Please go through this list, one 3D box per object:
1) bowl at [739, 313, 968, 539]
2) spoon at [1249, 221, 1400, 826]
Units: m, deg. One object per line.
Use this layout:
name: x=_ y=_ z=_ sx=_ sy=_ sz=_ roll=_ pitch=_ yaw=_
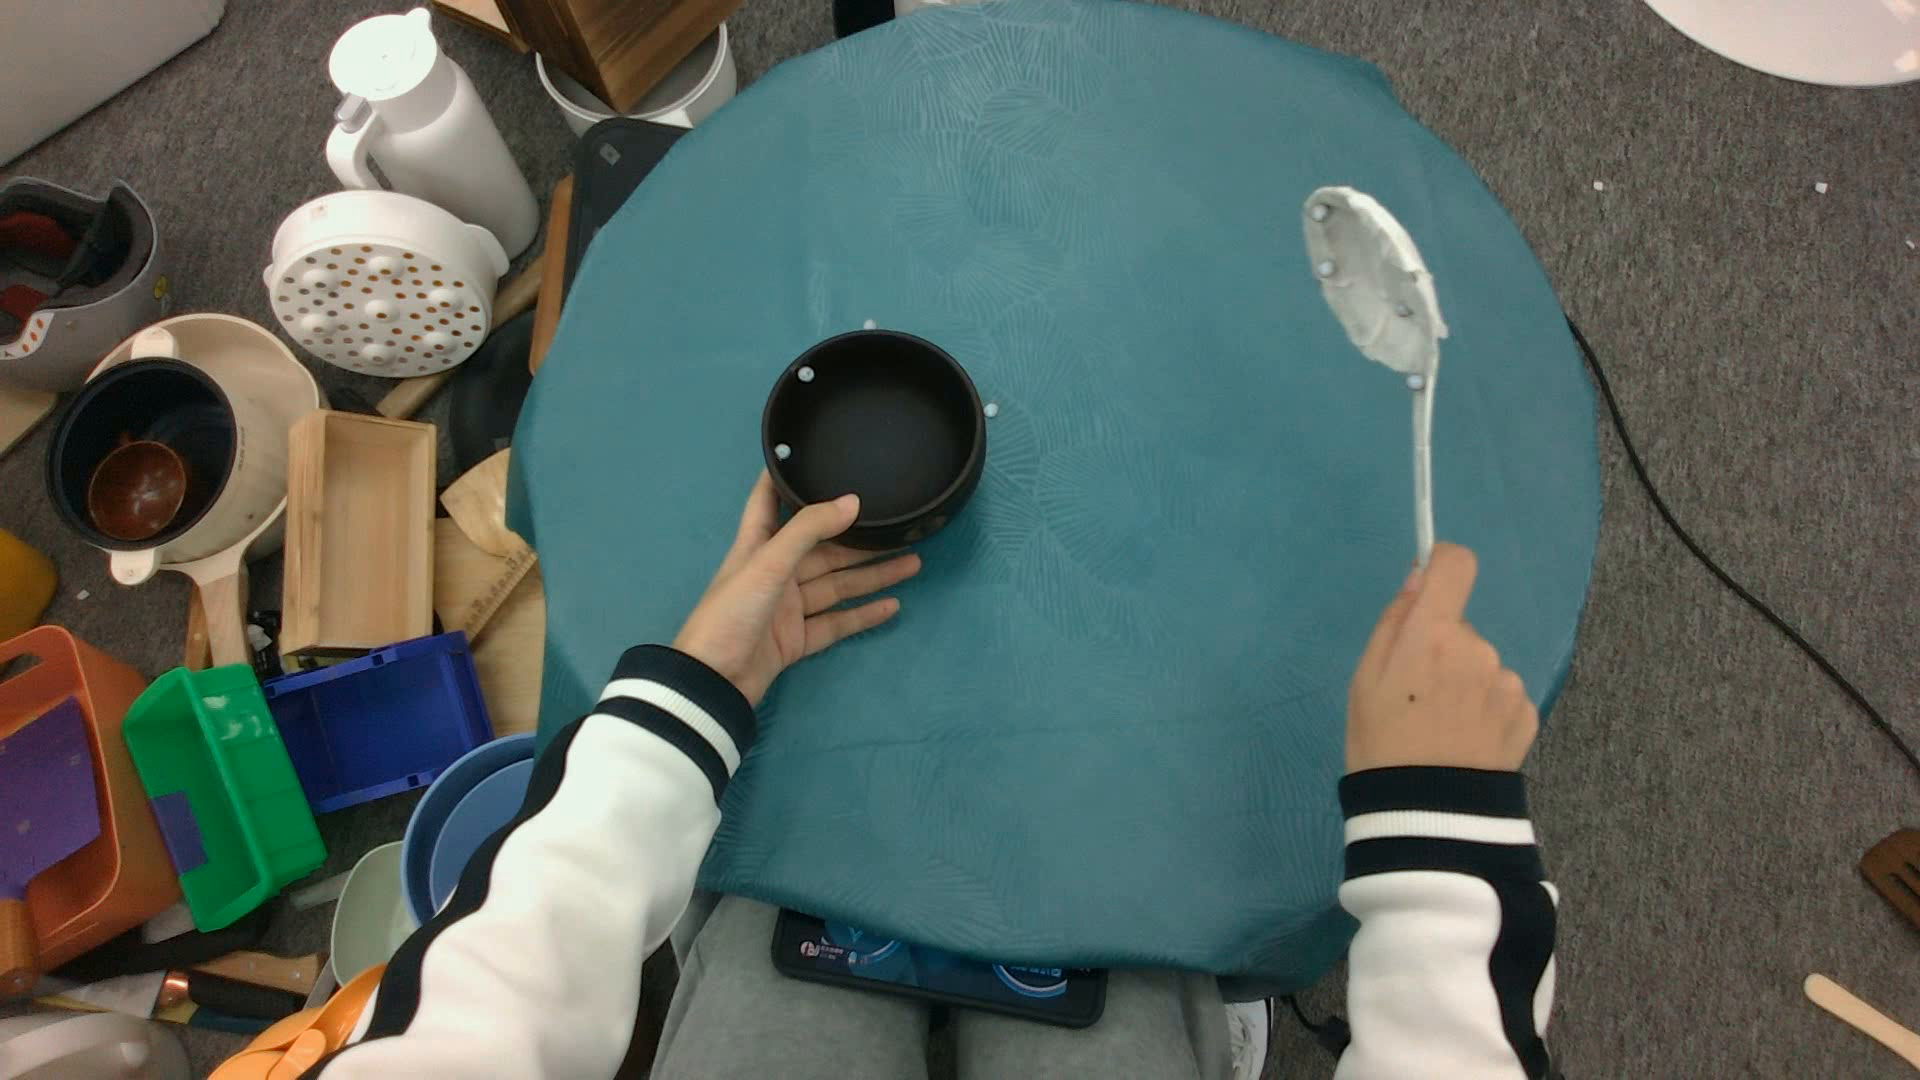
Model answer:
bowl: x=-0.054 y=-0.054 z=0.733 sx=0.118 sy=0.069 sz=0.118 roll=0 pitch=69 yaw=1
spoon: x=0.162 y=-0.011 z=0.640 sx=0.059 sy=0.100 sz=0.278 roll=10 pitch=77 yaw=-16
